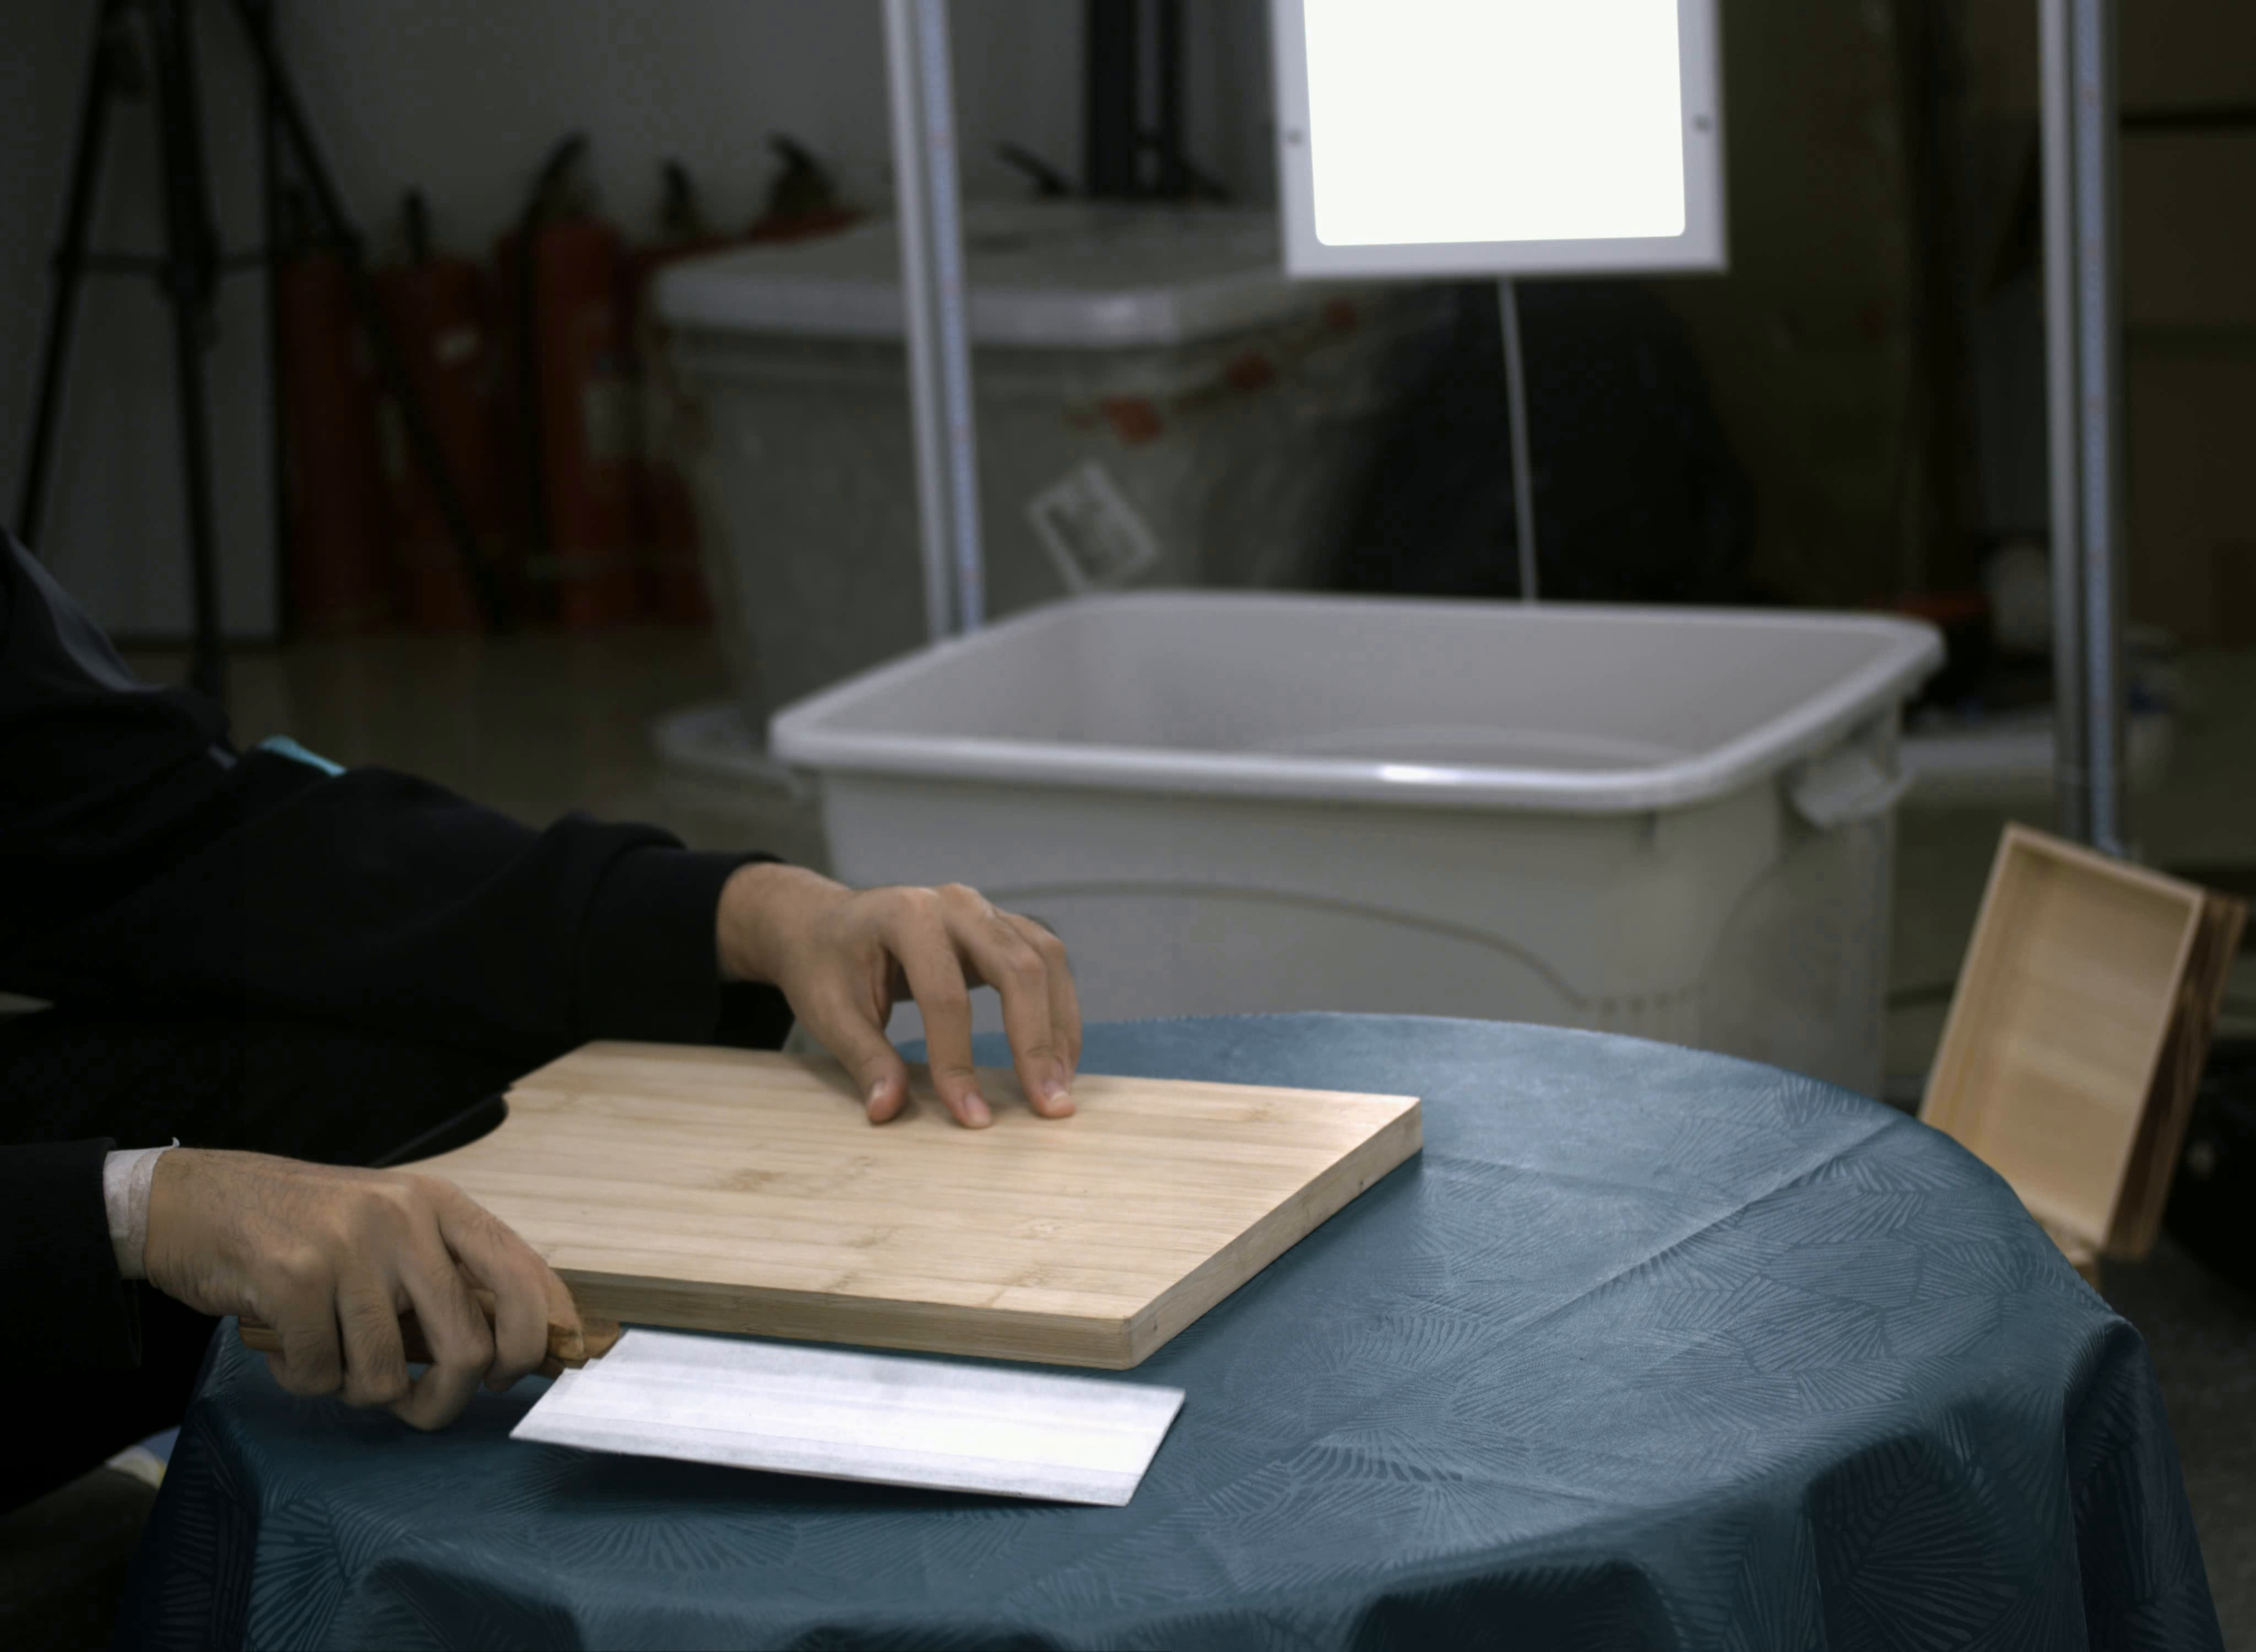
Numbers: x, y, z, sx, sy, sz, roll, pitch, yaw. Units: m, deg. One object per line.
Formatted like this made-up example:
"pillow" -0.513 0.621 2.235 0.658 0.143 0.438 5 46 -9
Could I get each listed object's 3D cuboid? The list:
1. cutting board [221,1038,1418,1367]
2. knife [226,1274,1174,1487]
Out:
"cutting board" -0.104 0.126 1.903 0.354 0.023 0.245 2 16 27
"knife" -0.138 0.172 1.683 0.308 0.021 0.091 4 20 14
